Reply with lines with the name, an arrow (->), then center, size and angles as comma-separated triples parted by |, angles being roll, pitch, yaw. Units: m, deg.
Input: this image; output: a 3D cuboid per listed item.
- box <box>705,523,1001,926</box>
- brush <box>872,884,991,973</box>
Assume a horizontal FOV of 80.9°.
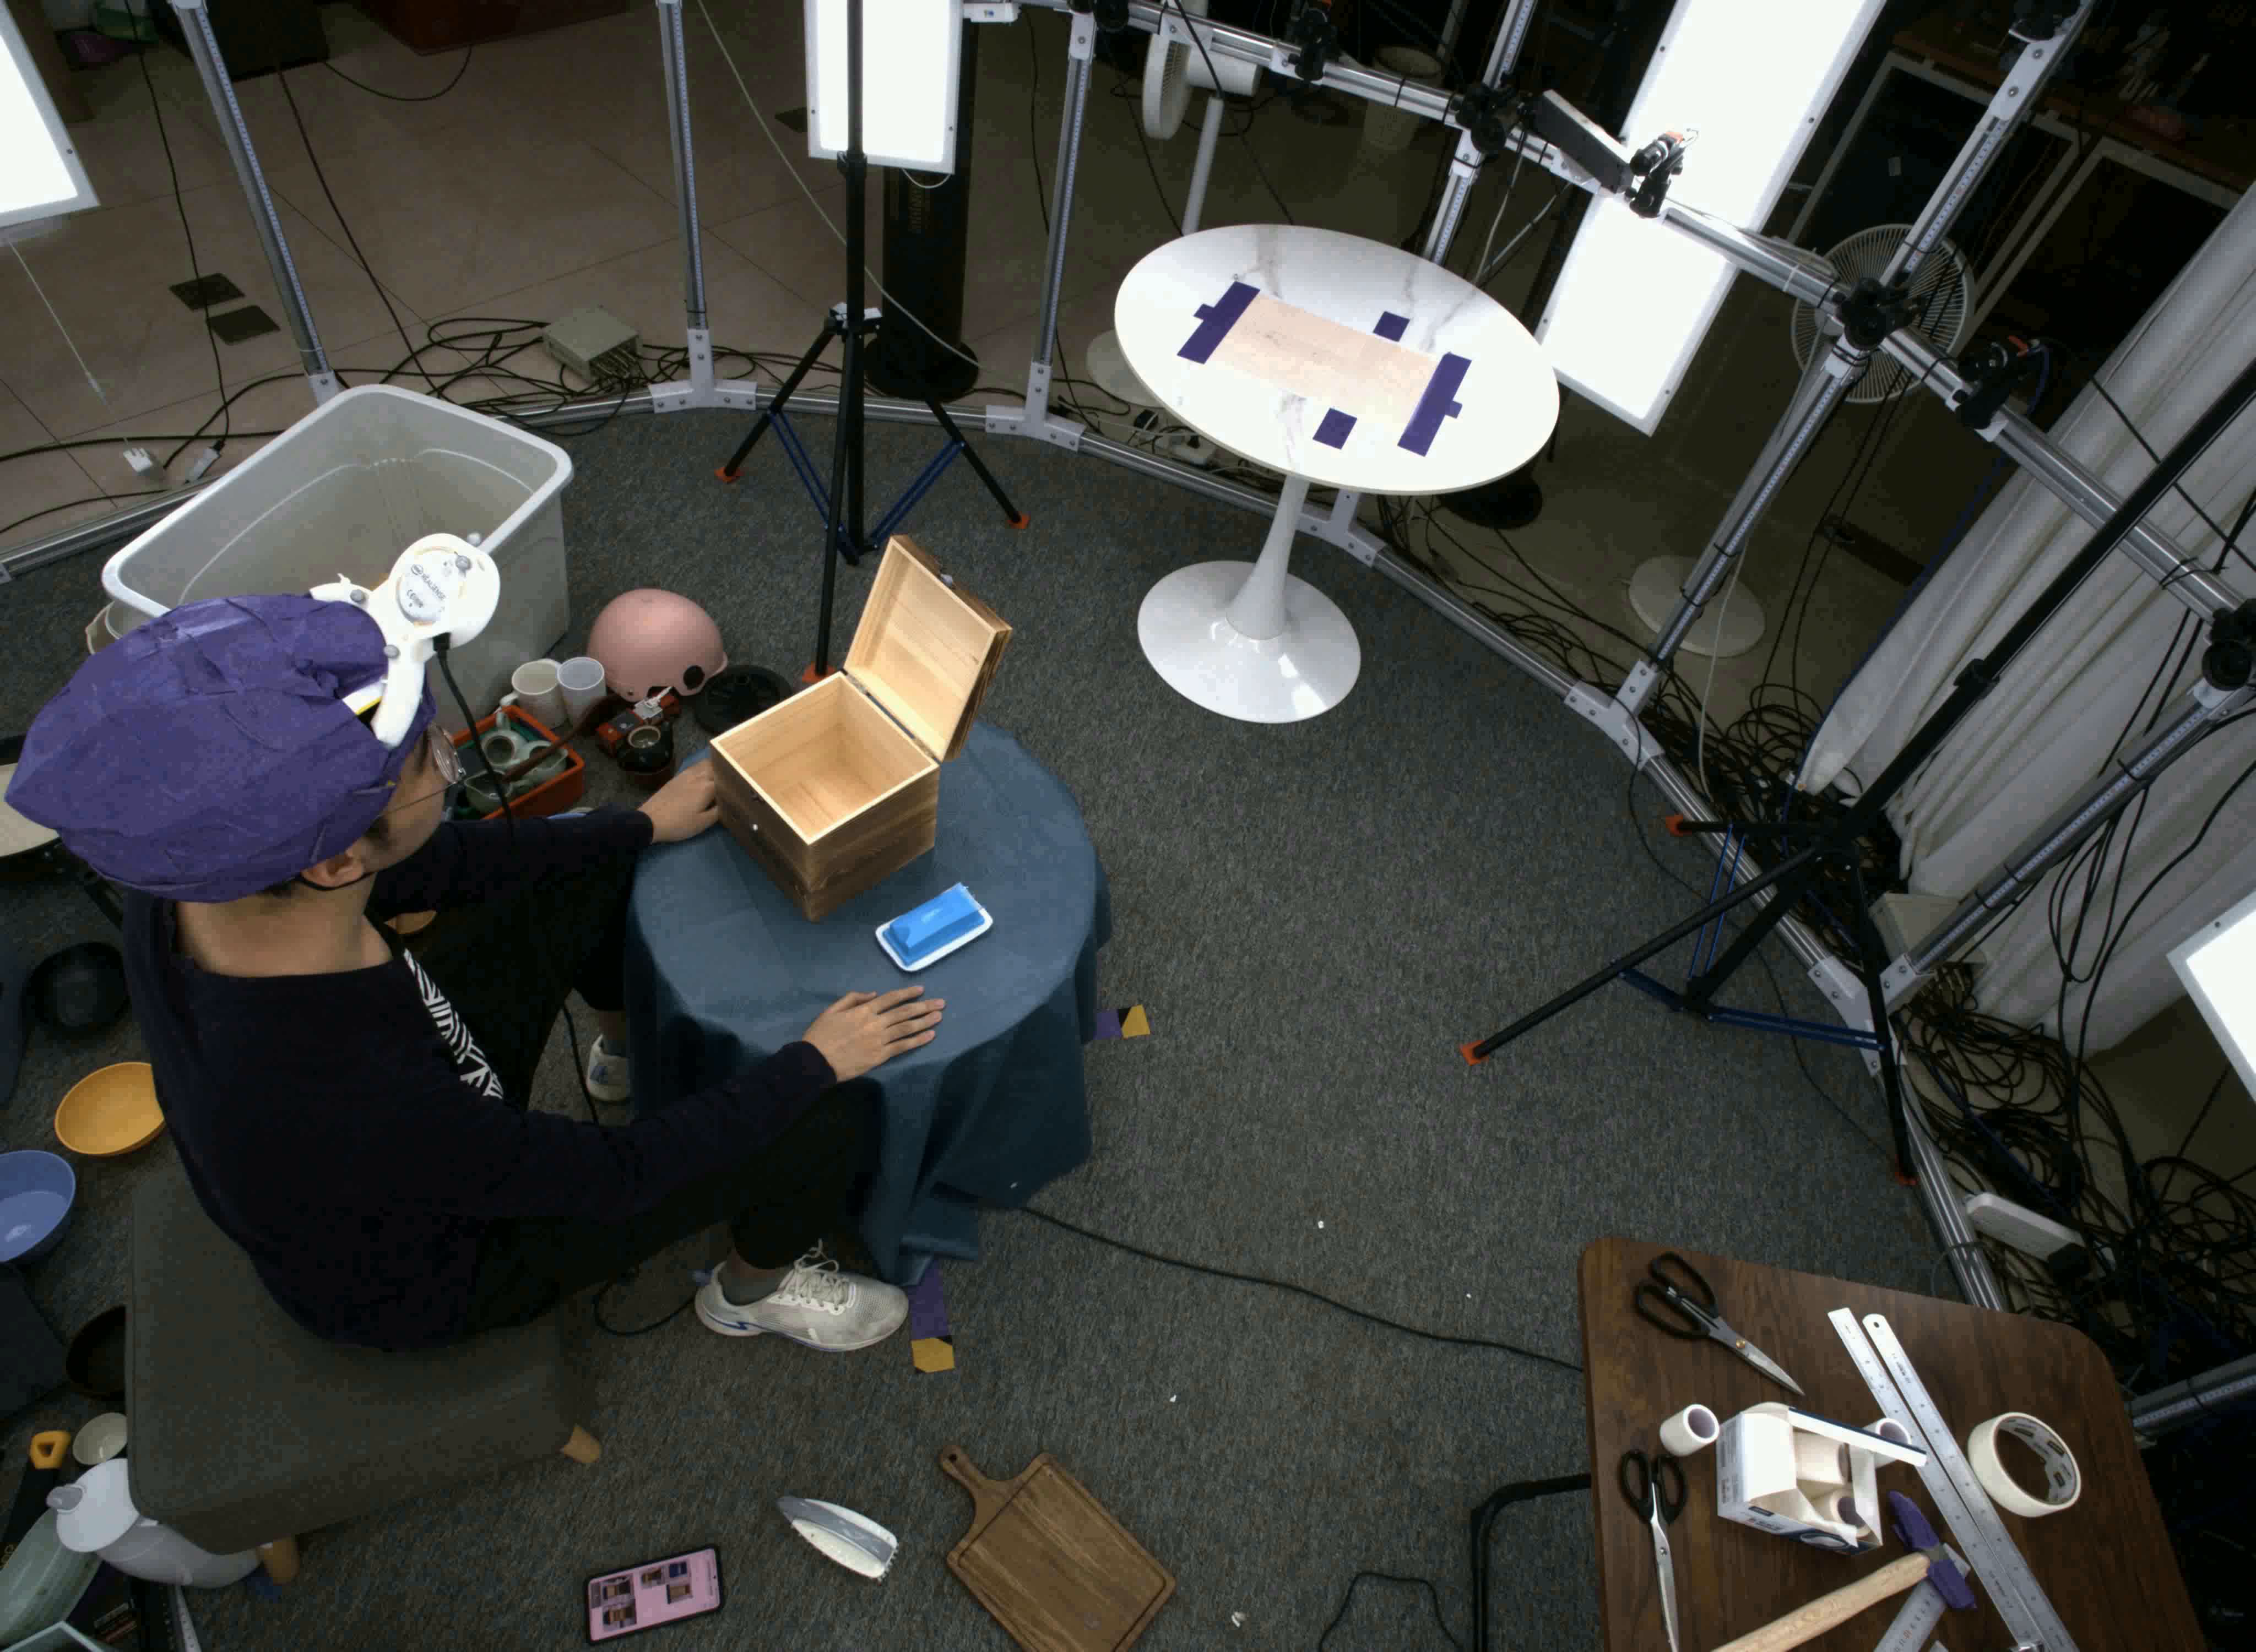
box -> -0.339, -0.126, 1.608 | 0.204, 0.384, 0.323 | 40, 56, 20
brush -> -0.247, 0.120, 1.641 | 0.144, 0.057, 0.081 | -26, 60, -31
